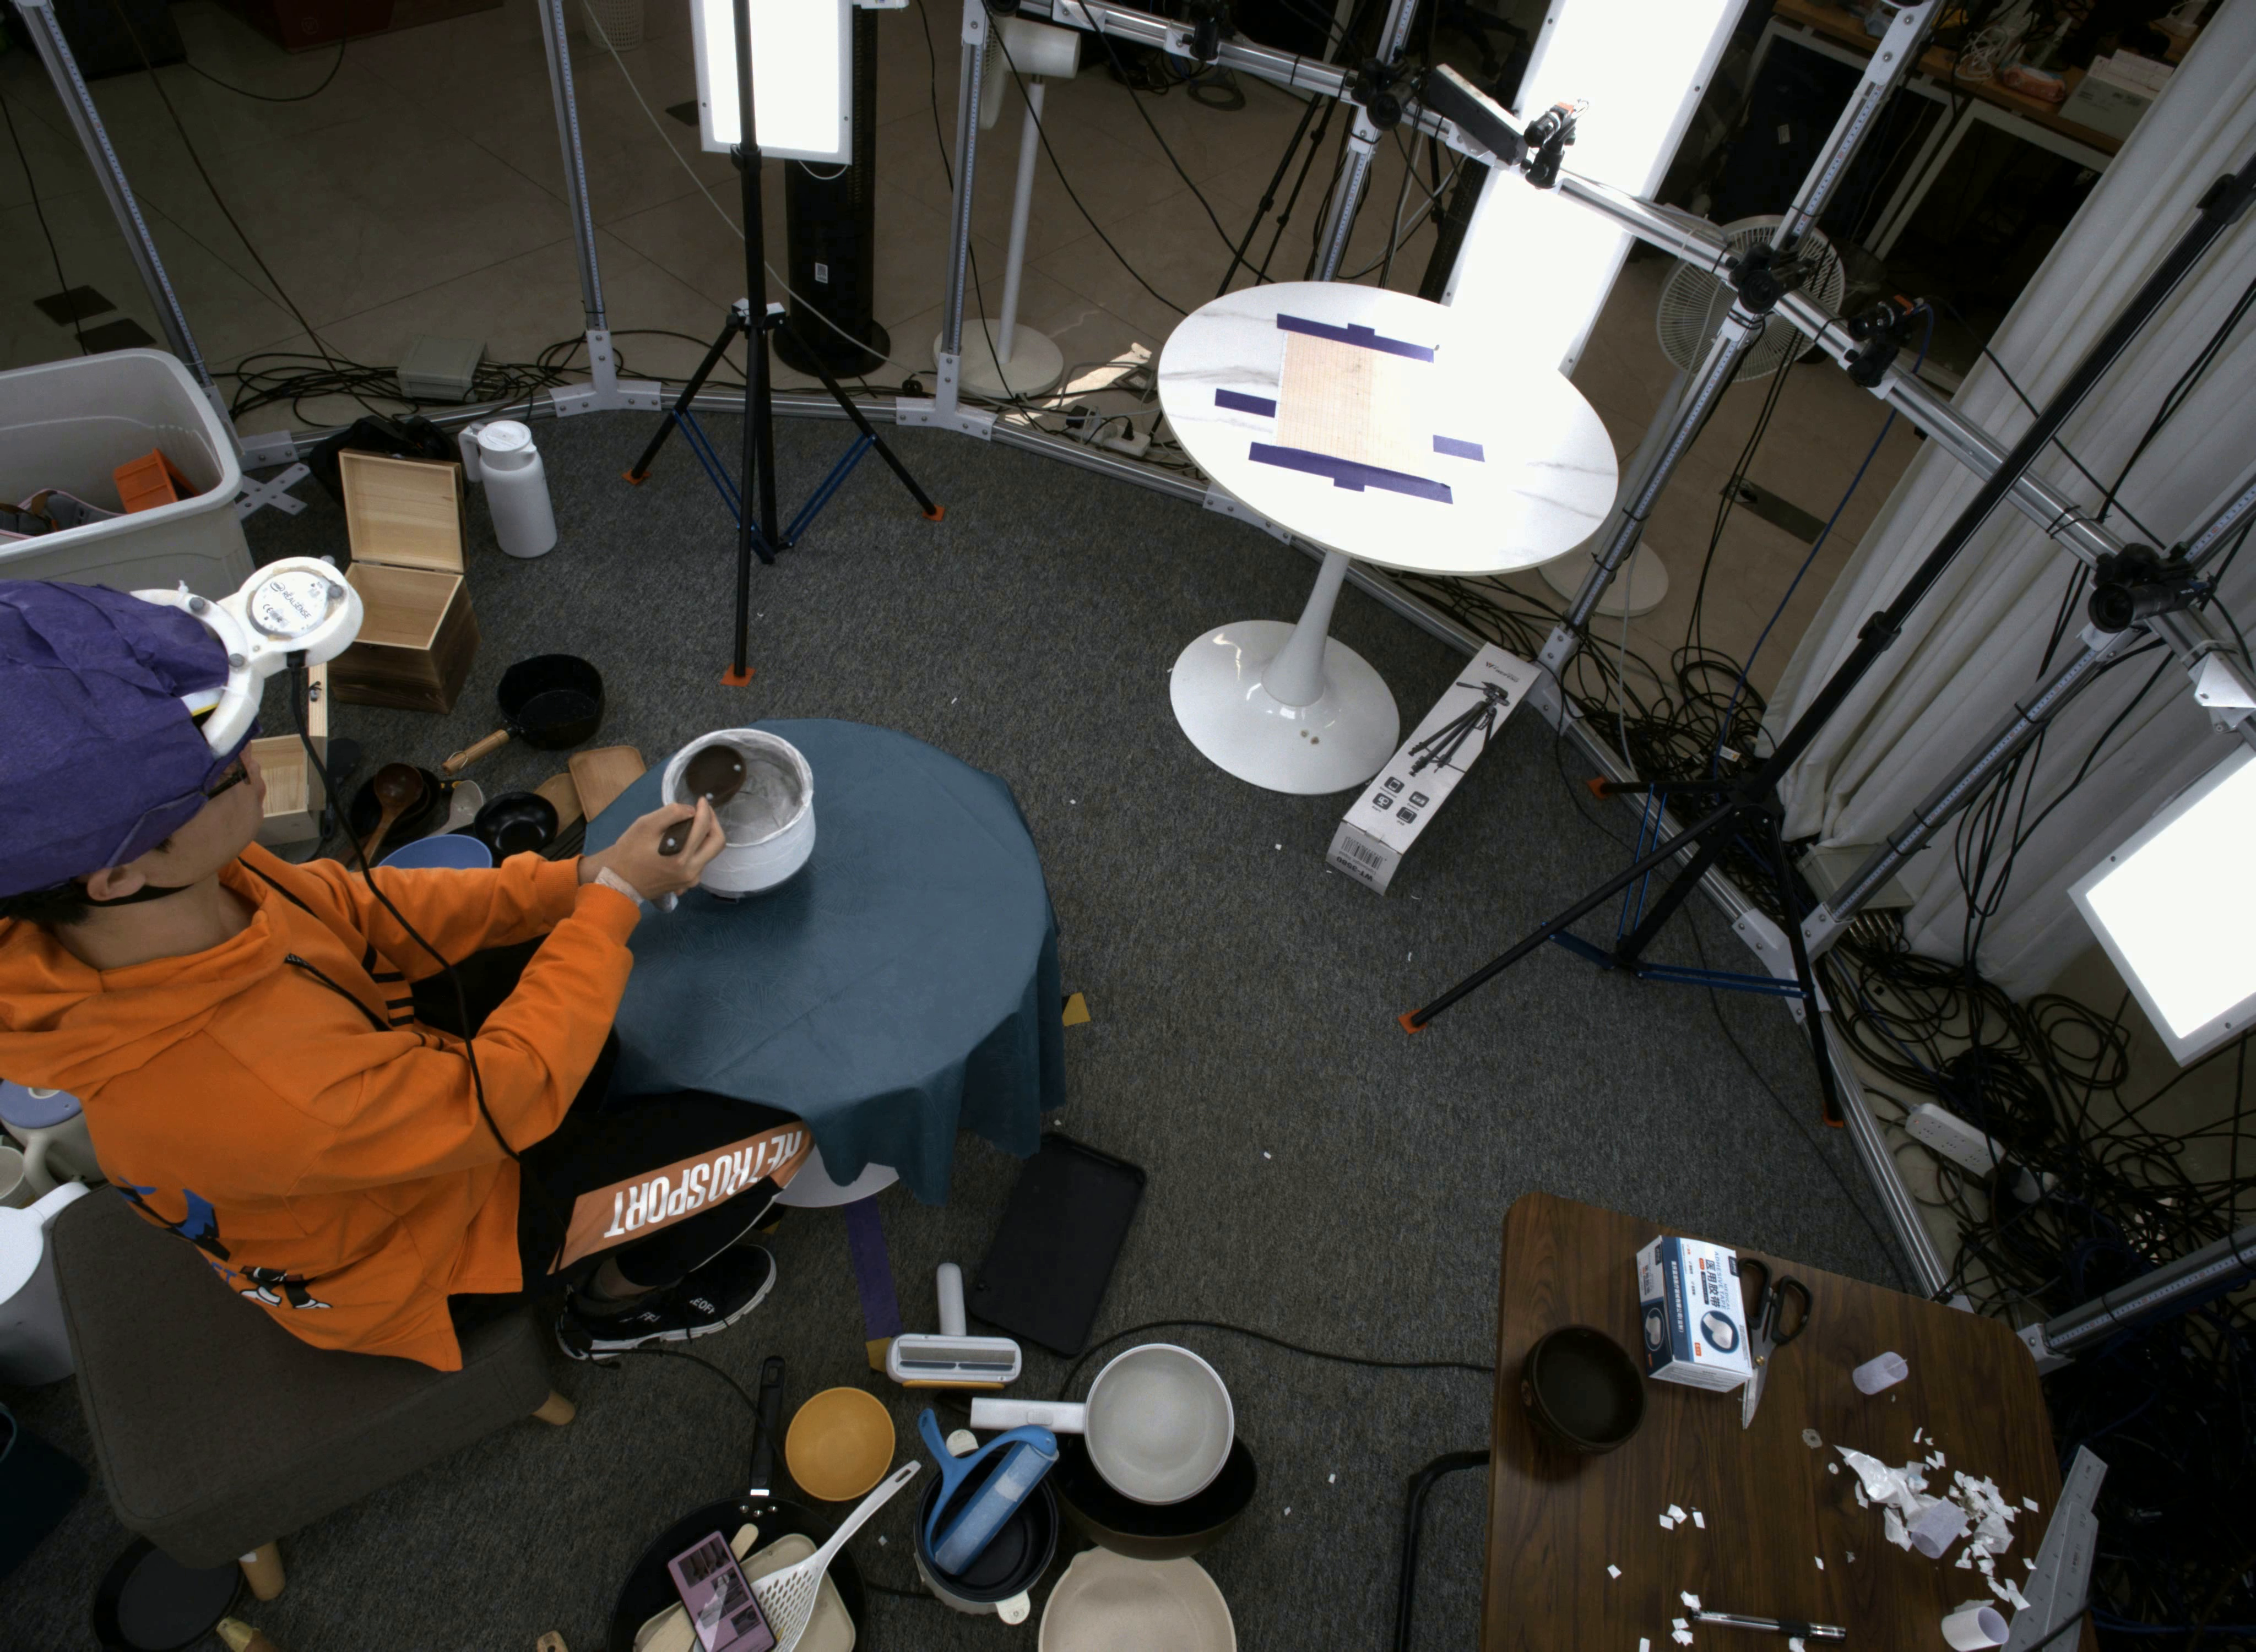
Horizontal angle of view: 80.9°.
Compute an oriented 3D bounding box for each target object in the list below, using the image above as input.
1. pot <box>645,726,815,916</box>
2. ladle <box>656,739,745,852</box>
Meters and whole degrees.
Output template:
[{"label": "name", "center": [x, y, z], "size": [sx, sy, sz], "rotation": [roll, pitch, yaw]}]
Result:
[{"label": "pot", "center": [-0.490, 0.005, 1.563], "size": [0.175, 0.139, 0.233], "rotation": [34, 56, 12]}, {"label": "ladle", "center": [-0.489, -0.042, 1.442], "size": [0.075, 0.073, 0.269], "rotation": [-11, 14, -1]}]
